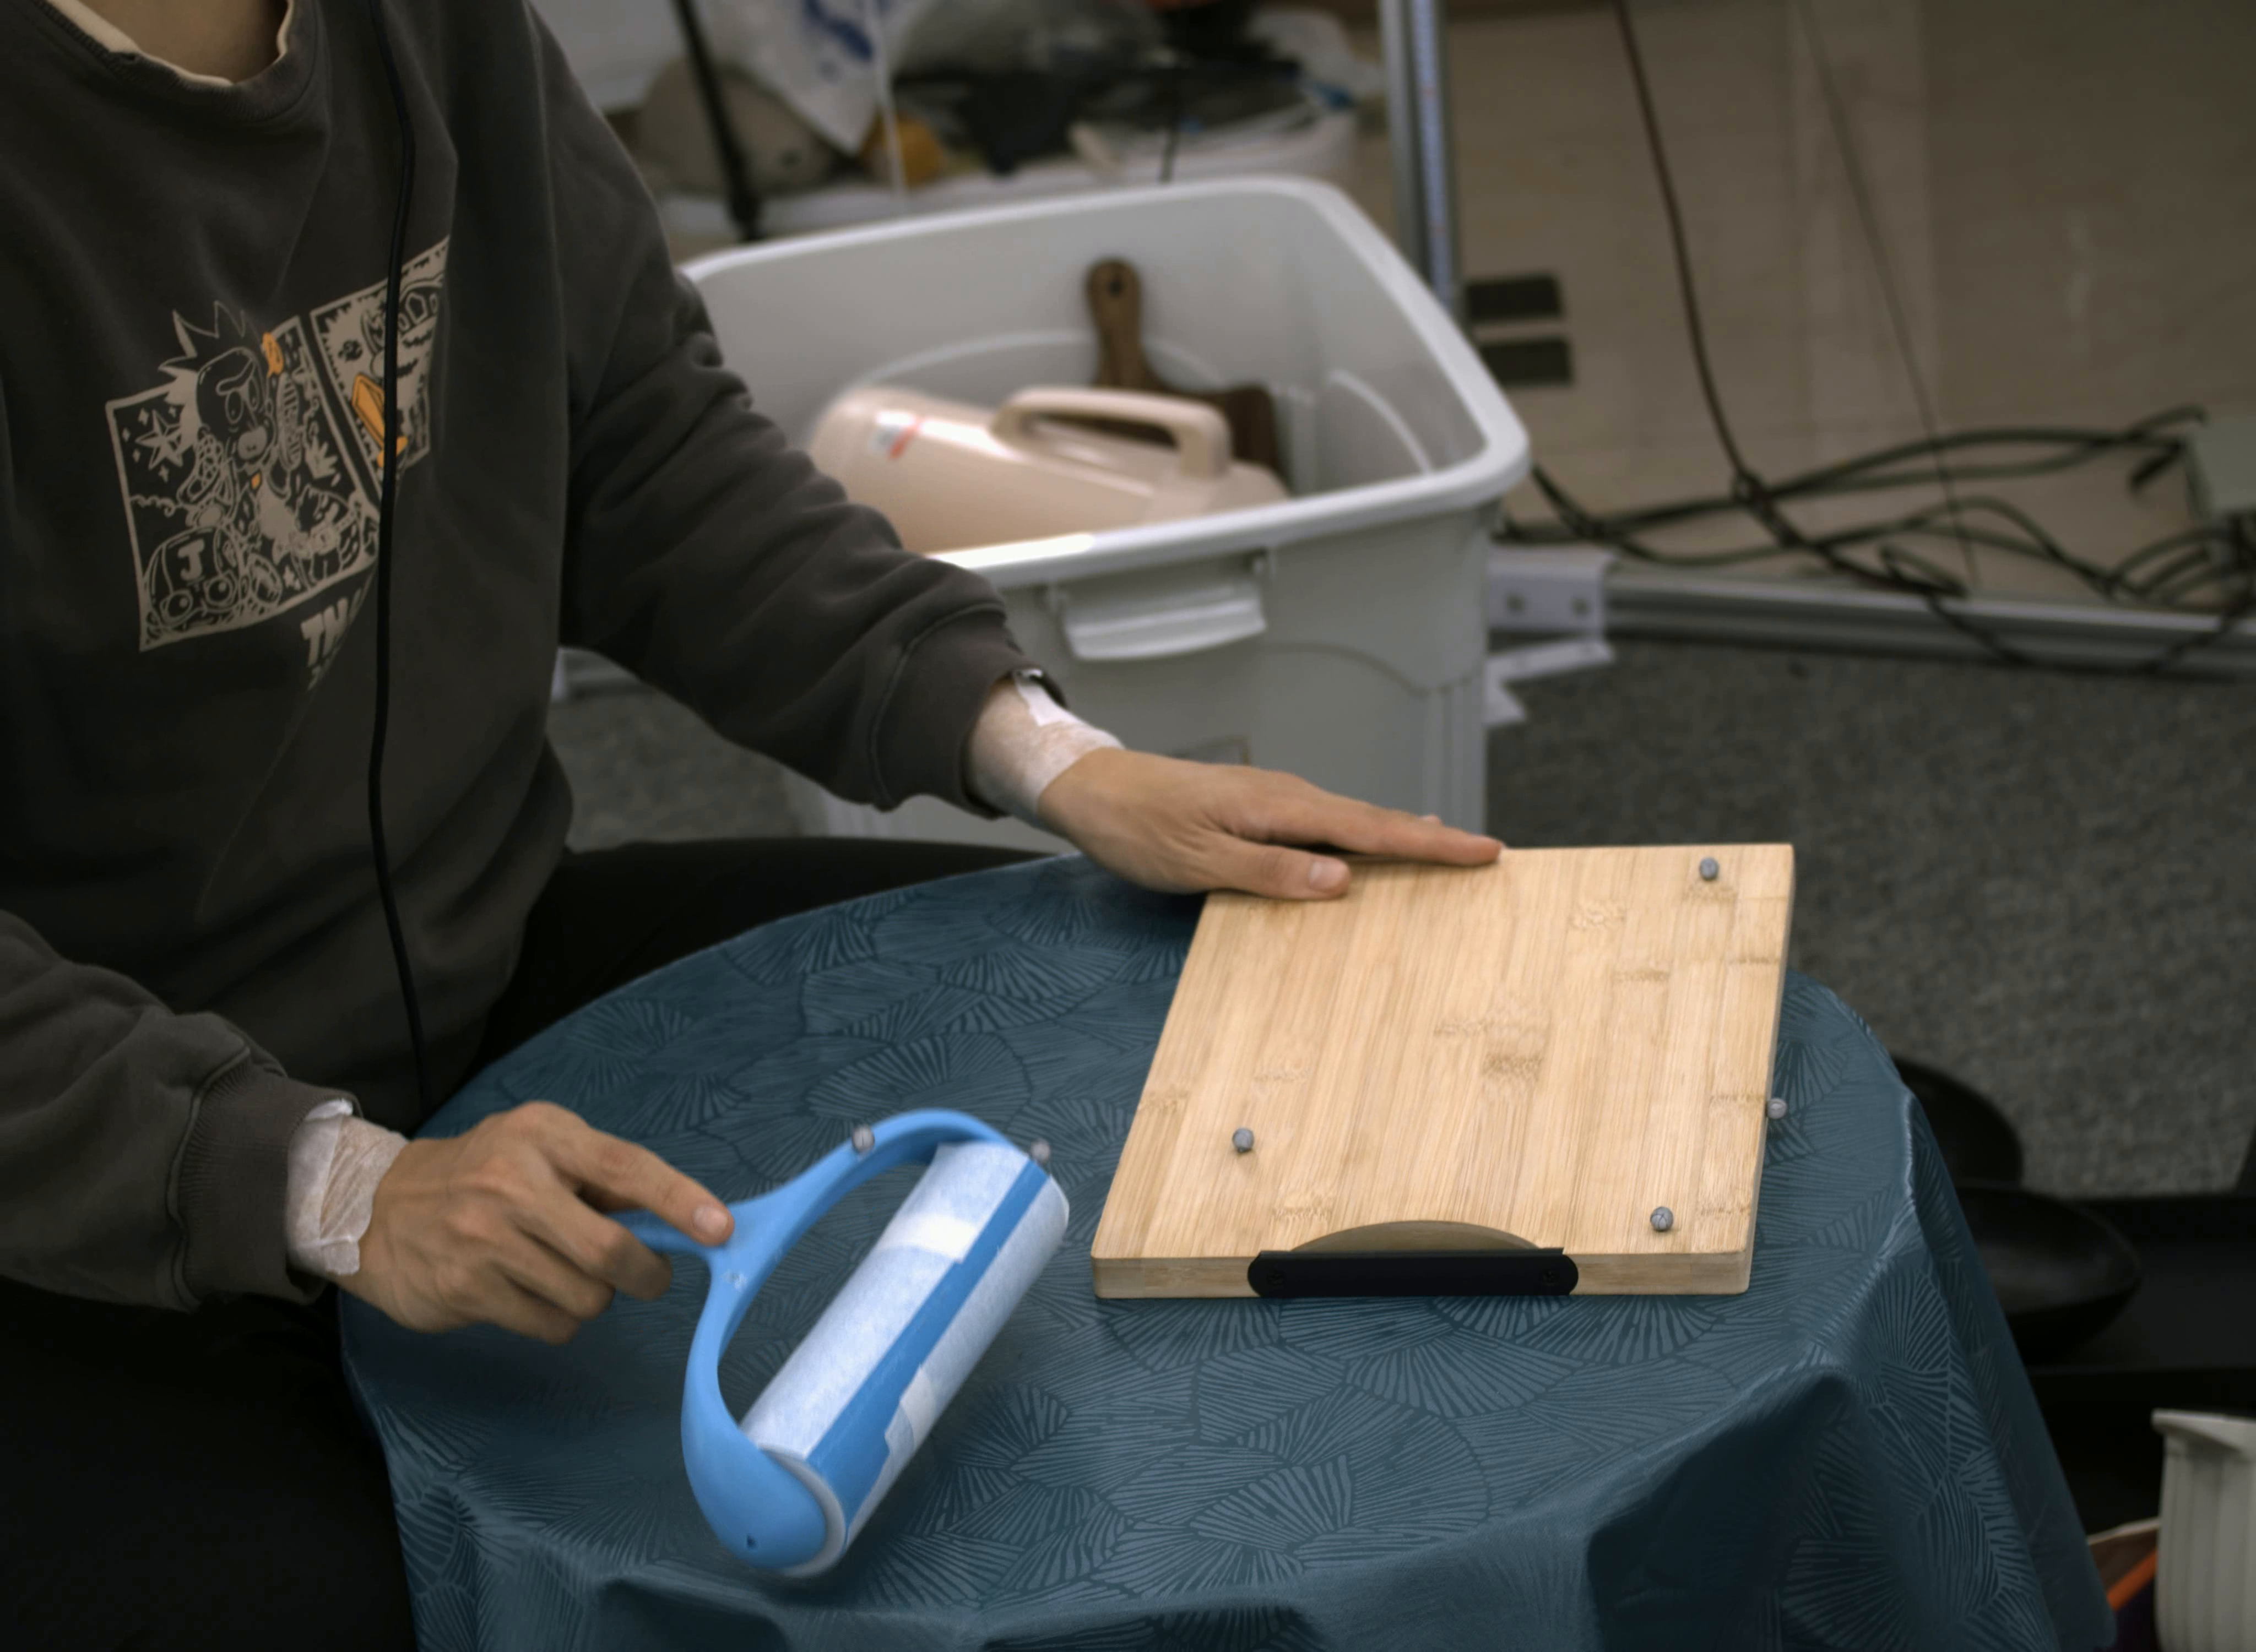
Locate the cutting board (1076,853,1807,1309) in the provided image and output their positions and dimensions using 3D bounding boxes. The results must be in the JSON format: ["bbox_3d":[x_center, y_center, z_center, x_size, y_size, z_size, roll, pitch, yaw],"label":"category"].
[{"bbox_3d":[0.129,0.093,2.193,0.250,0.024,0.343,-2,25,11],"label":"cutting board"}]

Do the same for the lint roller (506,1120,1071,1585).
[{"bbox_3d":[-0.134,0.170,1.983,0.179,0.069,0.225,15,36,12],"label":"lint roller"}]
